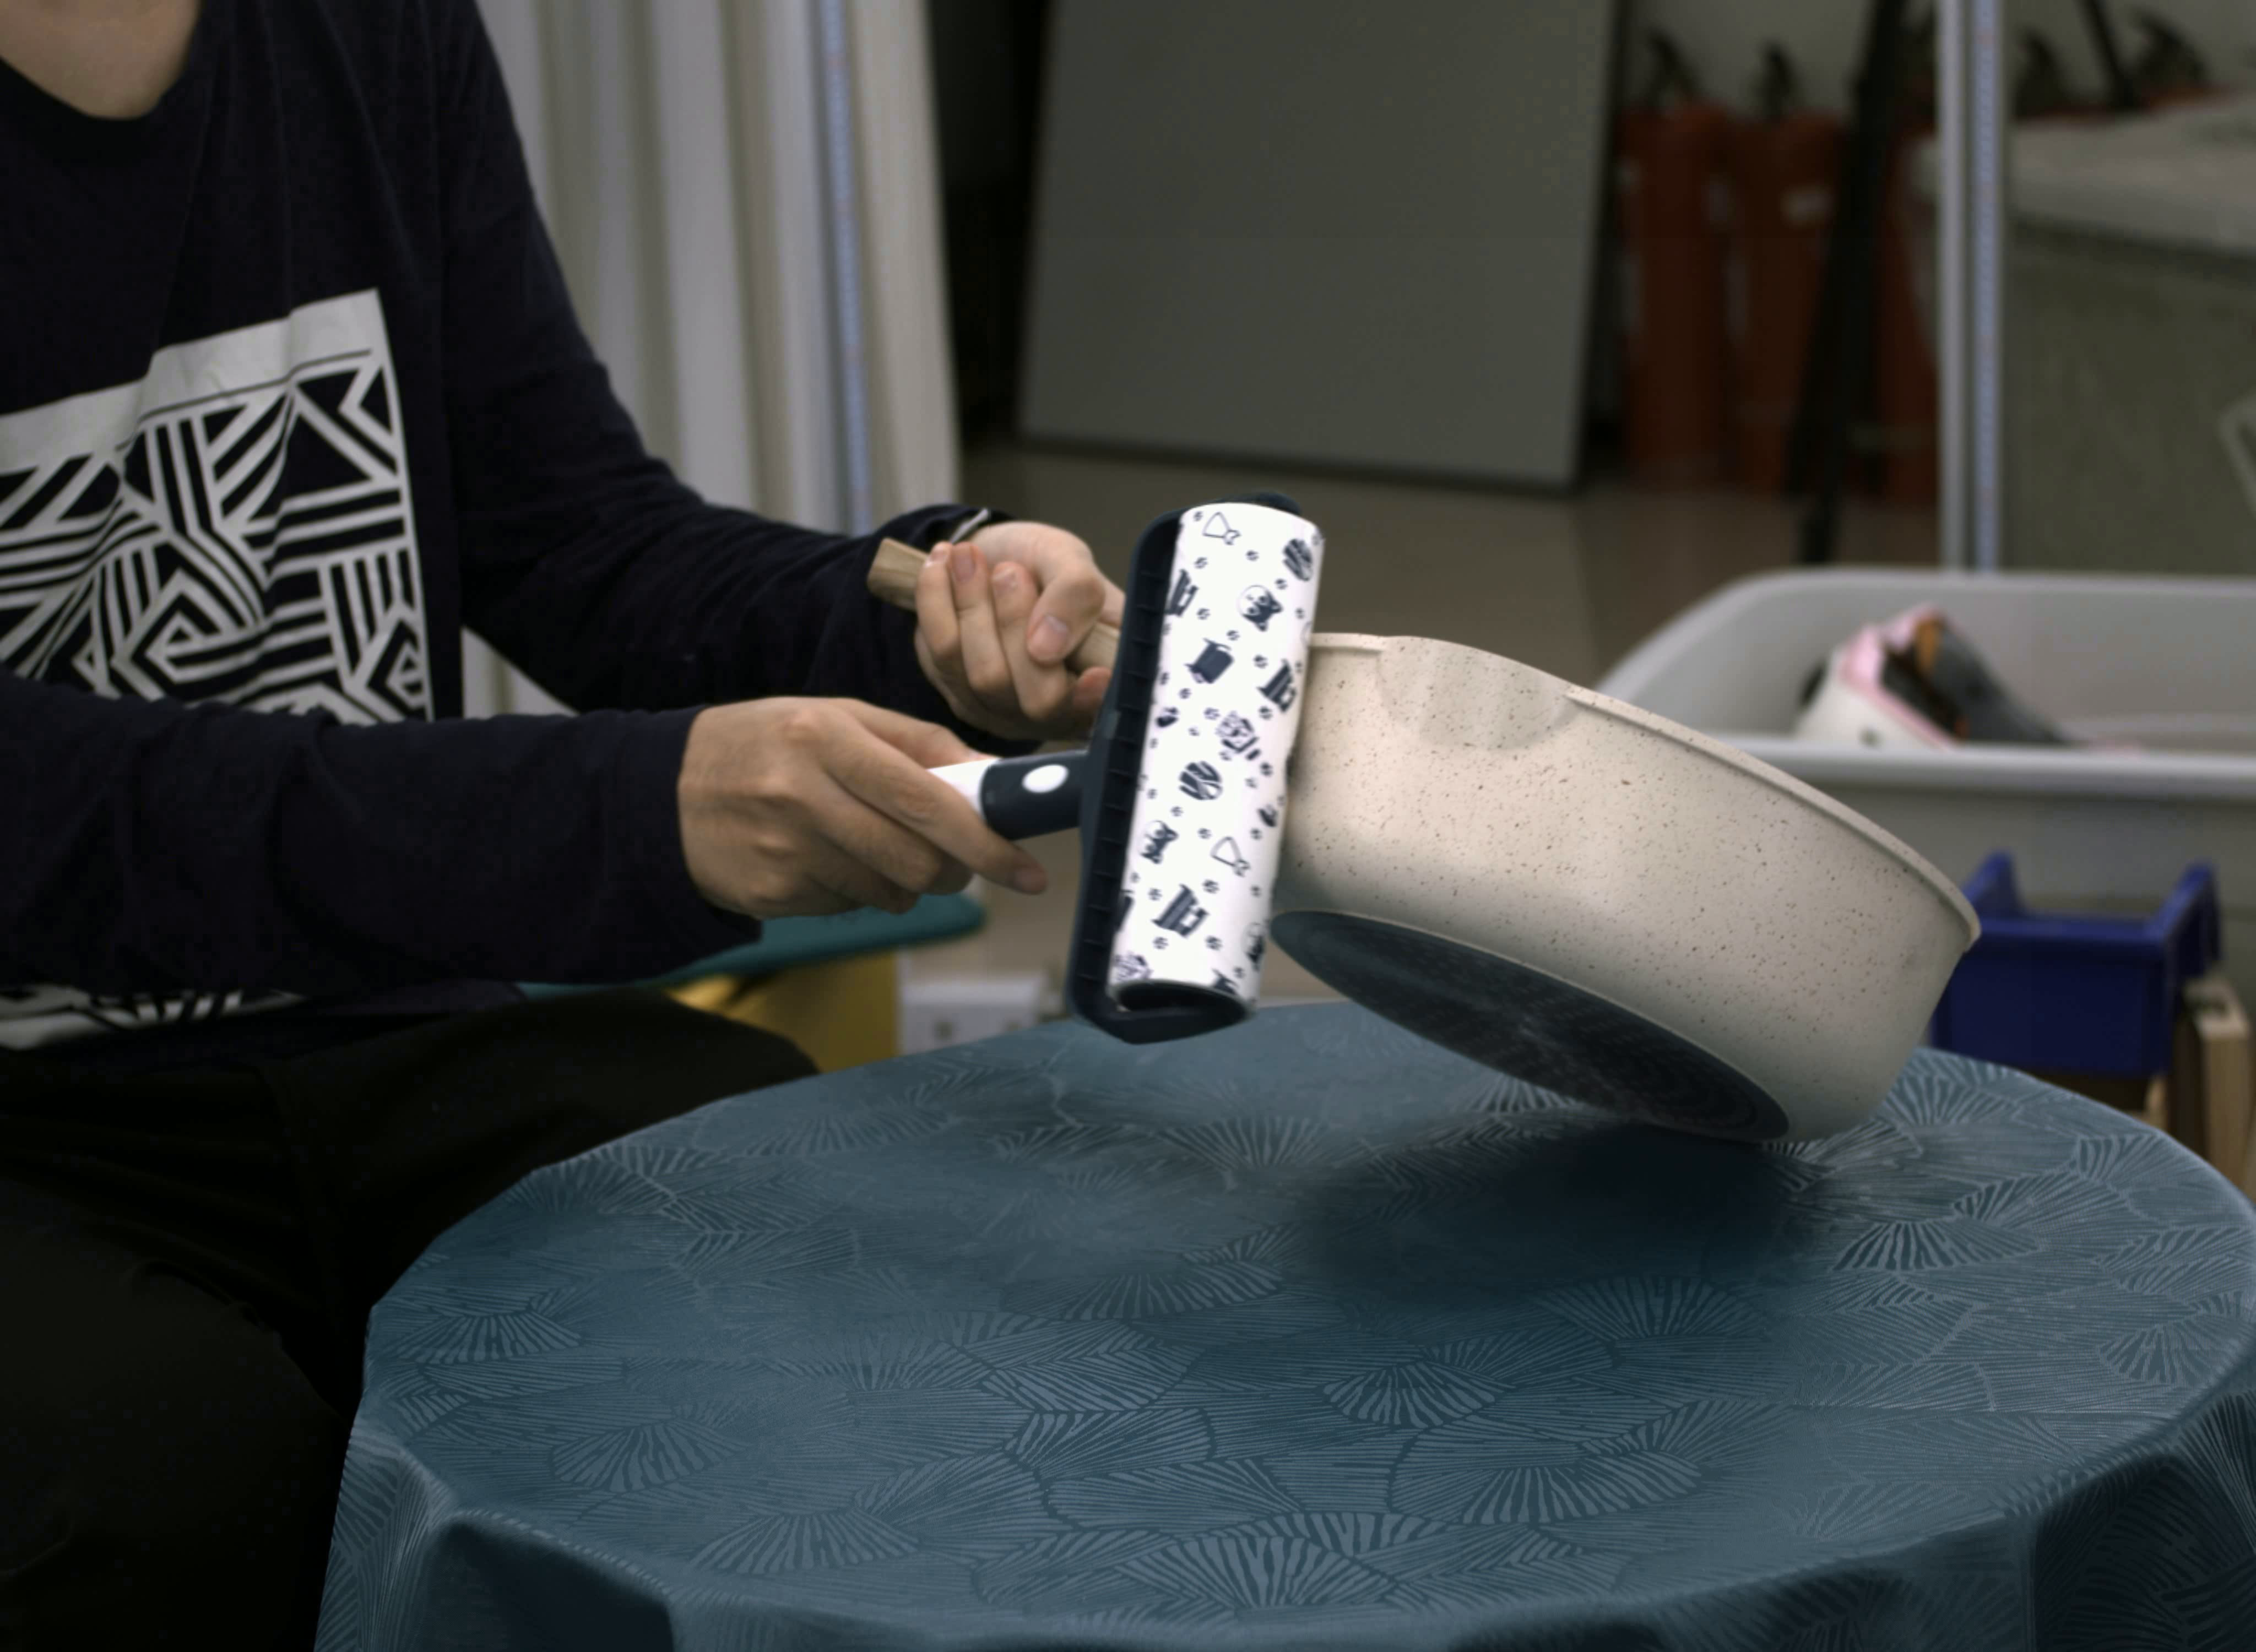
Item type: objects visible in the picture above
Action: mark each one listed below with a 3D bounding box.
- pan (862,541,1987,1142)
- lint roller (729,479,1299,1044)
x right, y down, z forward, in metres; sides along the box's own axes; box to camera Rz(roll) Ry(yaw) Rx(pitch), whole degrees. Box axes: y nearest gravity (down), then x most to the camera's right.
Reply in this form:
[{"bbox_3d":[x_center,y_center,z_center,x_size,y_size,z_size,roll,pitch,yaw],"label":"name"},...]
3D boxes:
[{"bbox_3d":[0.074,-0.001,1.791,0.437,0.103,0.260,16,-12,32],"label":"pan"},{"bbox_3d":[-0.049,-0.006,1.751,0.249,0.178,0.049,-12,-27,43],"label":"lint roller"}]
